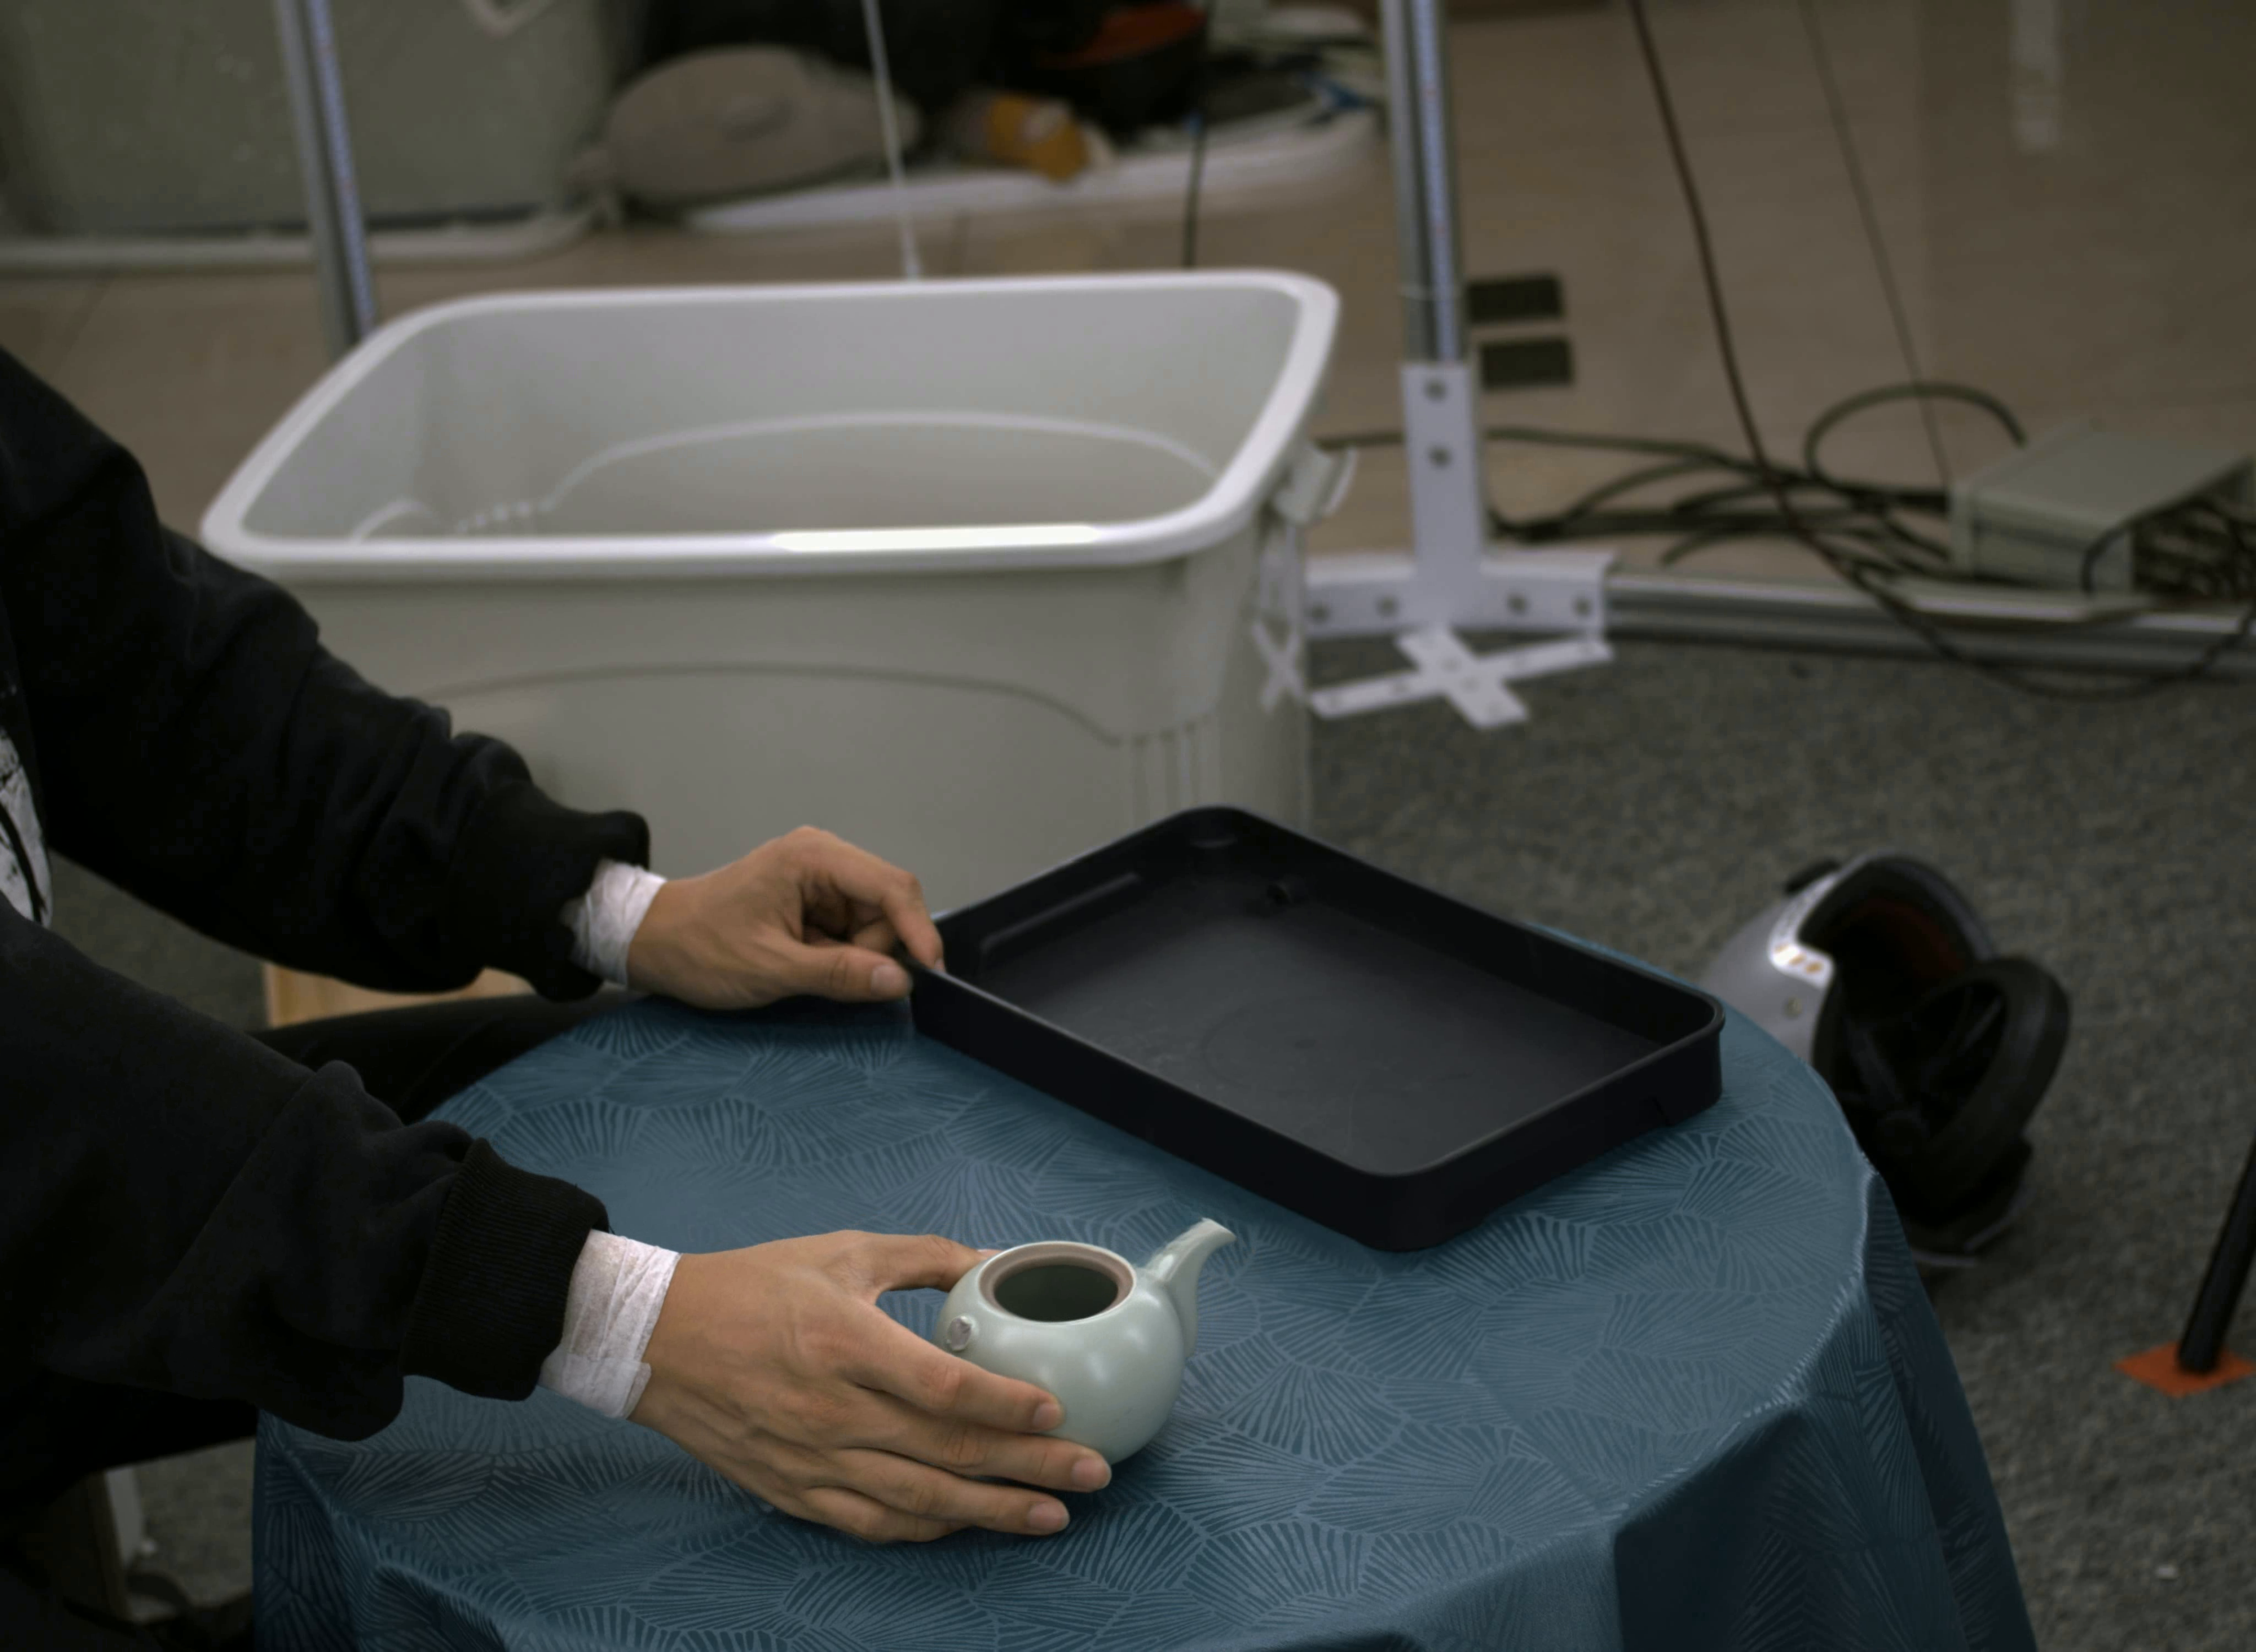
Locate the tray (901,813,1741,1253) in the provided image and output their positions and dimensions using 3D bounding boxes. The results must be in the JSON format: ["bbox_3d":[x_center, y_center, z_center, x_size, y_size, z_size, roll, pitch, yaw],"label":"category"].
[{"bbox_3d":[0.072,0.076,2.225,0.183,0.037,0.315,-24,30,-34],"label":"tray"}]

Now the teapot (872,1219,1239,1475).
[{"bbox_3d":[-0.025,0.183,1.969,0.143,0.076,0.087,-11,29,-27],"label":"teapot"}]
